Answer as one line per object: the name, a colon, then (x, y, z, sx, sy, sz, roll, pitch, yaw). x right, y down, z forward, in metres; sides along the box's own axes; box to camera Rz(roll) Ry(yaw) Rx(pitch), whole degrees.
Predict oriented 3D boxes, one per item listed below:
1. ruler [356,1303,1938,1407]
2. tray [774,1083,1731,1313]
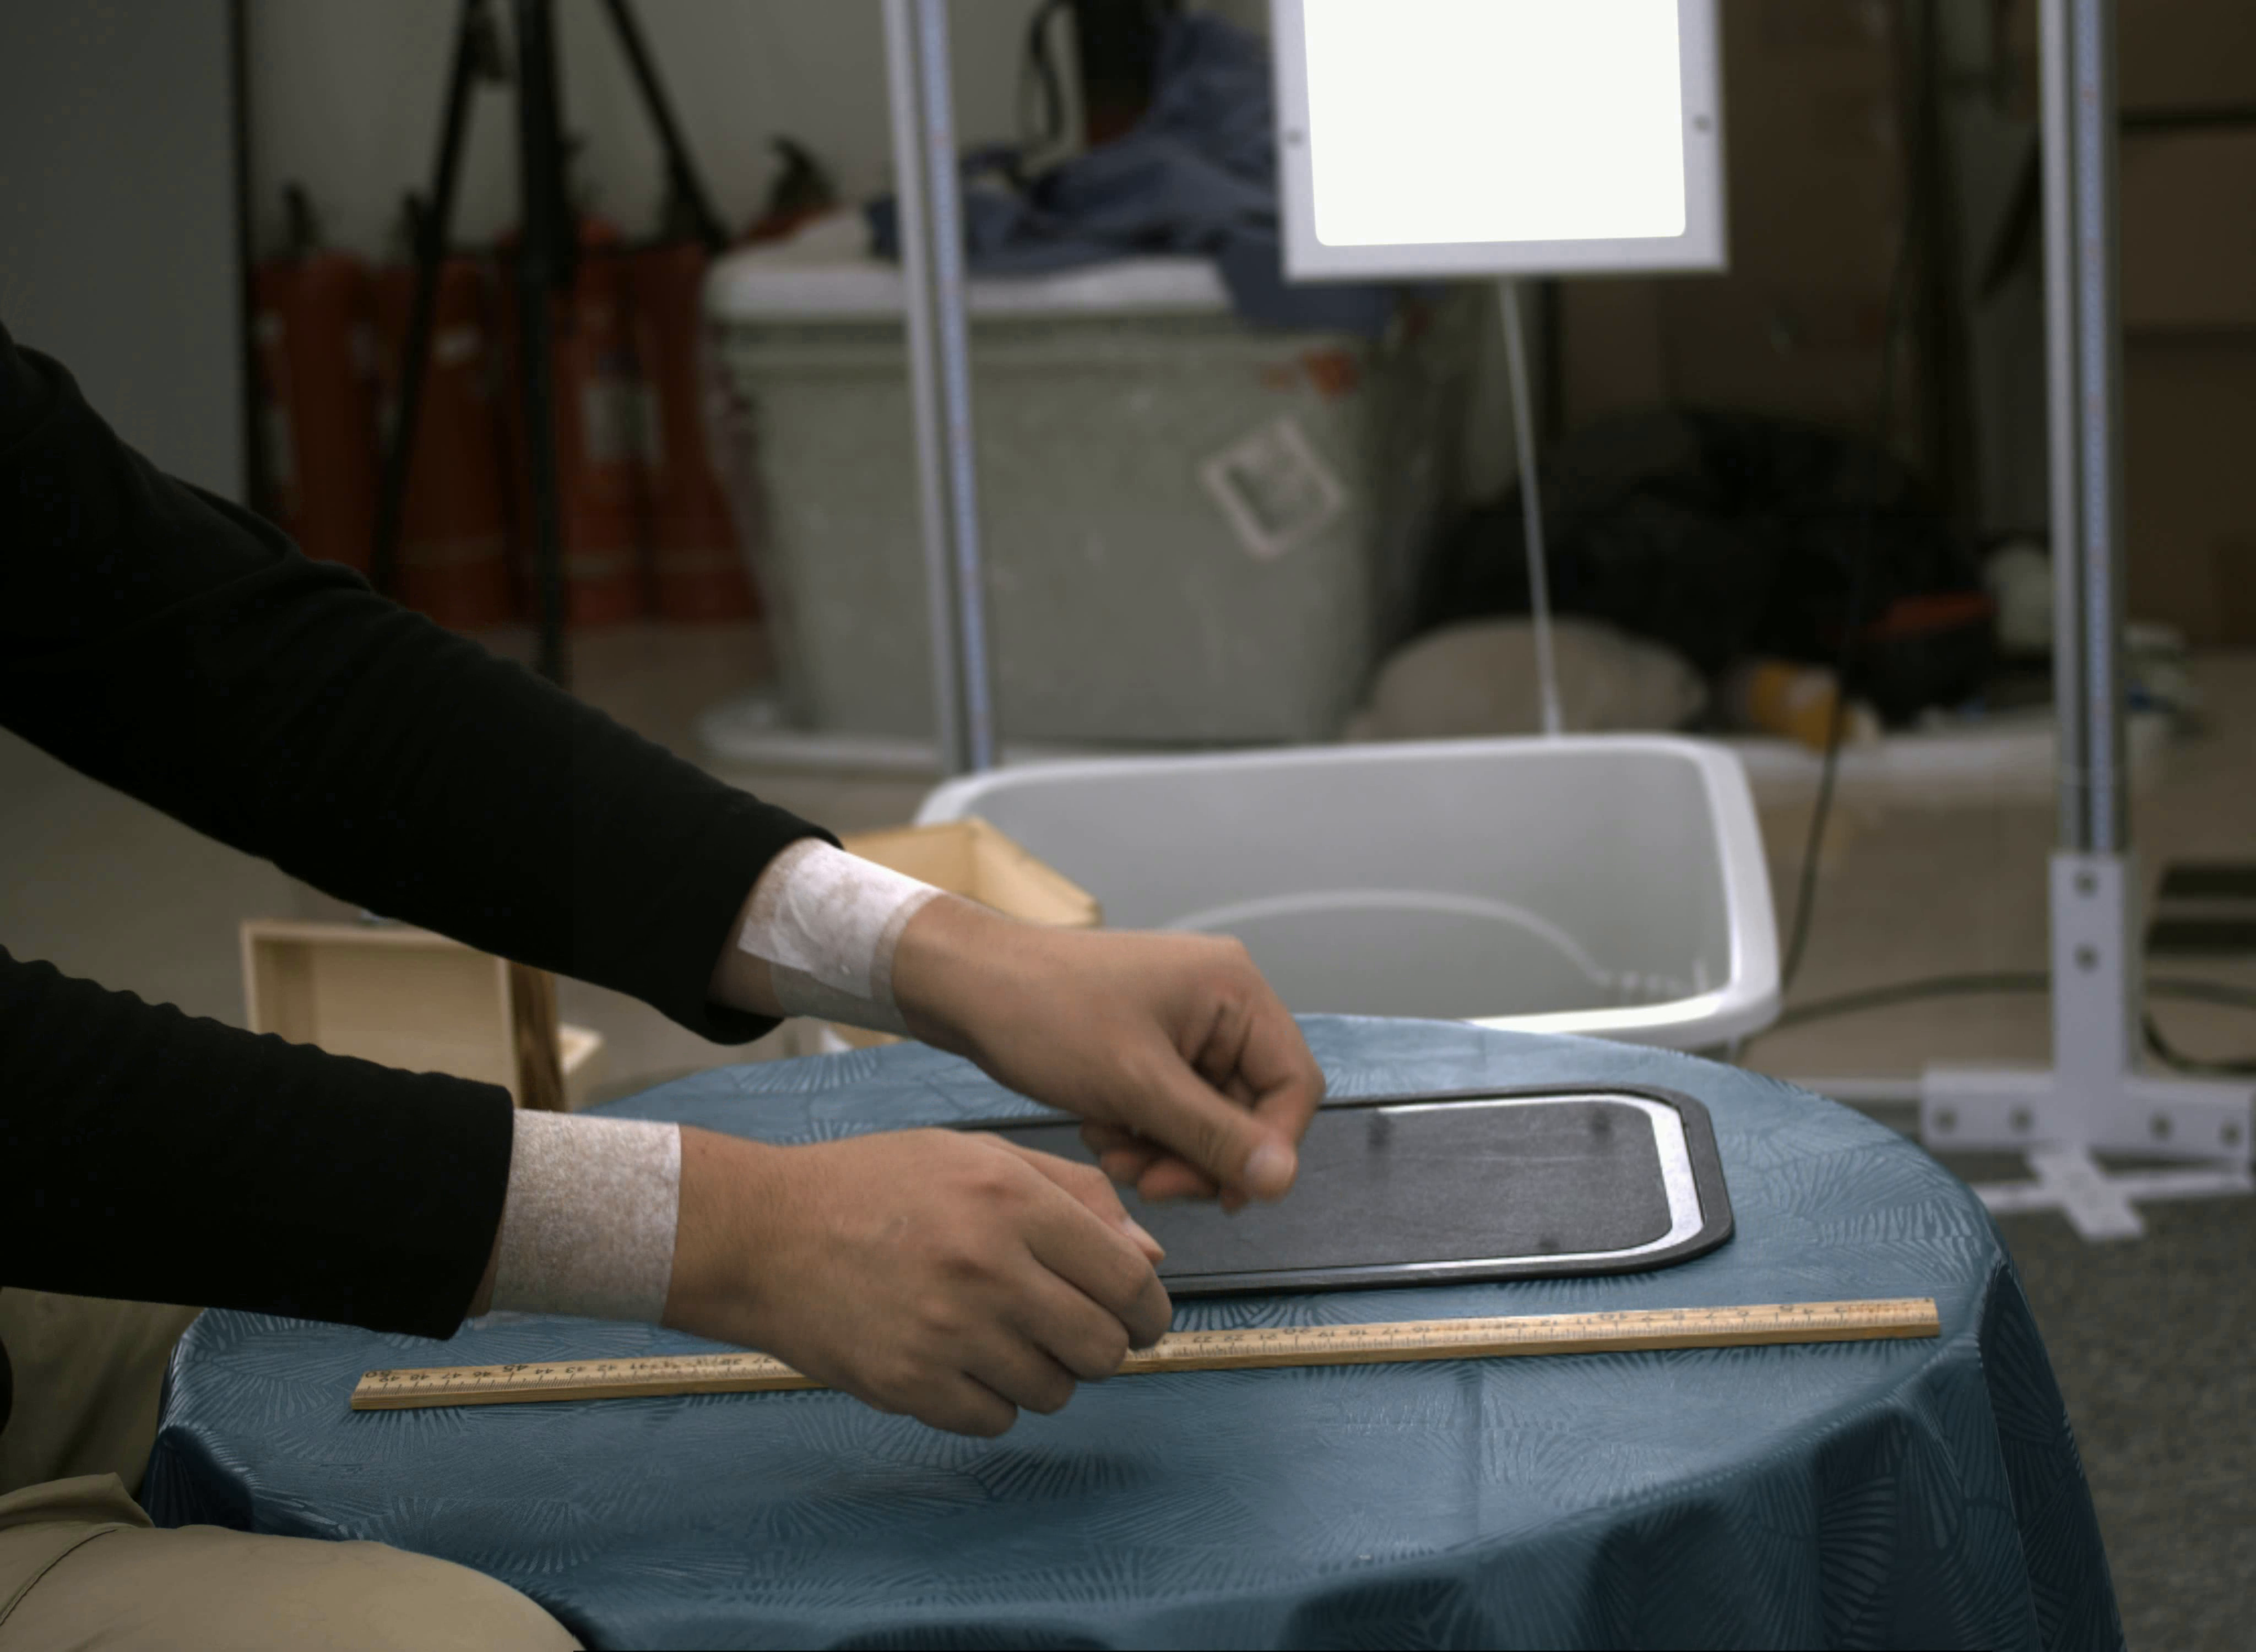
ruler: (0.004, 0.165, 1.727, 0.502, 0.006, 0.026, -3, 12, 8)
tray: (0.041, 0.124, 1.878, 0.326, 0.010, 0.210, -4, 14, 6)
